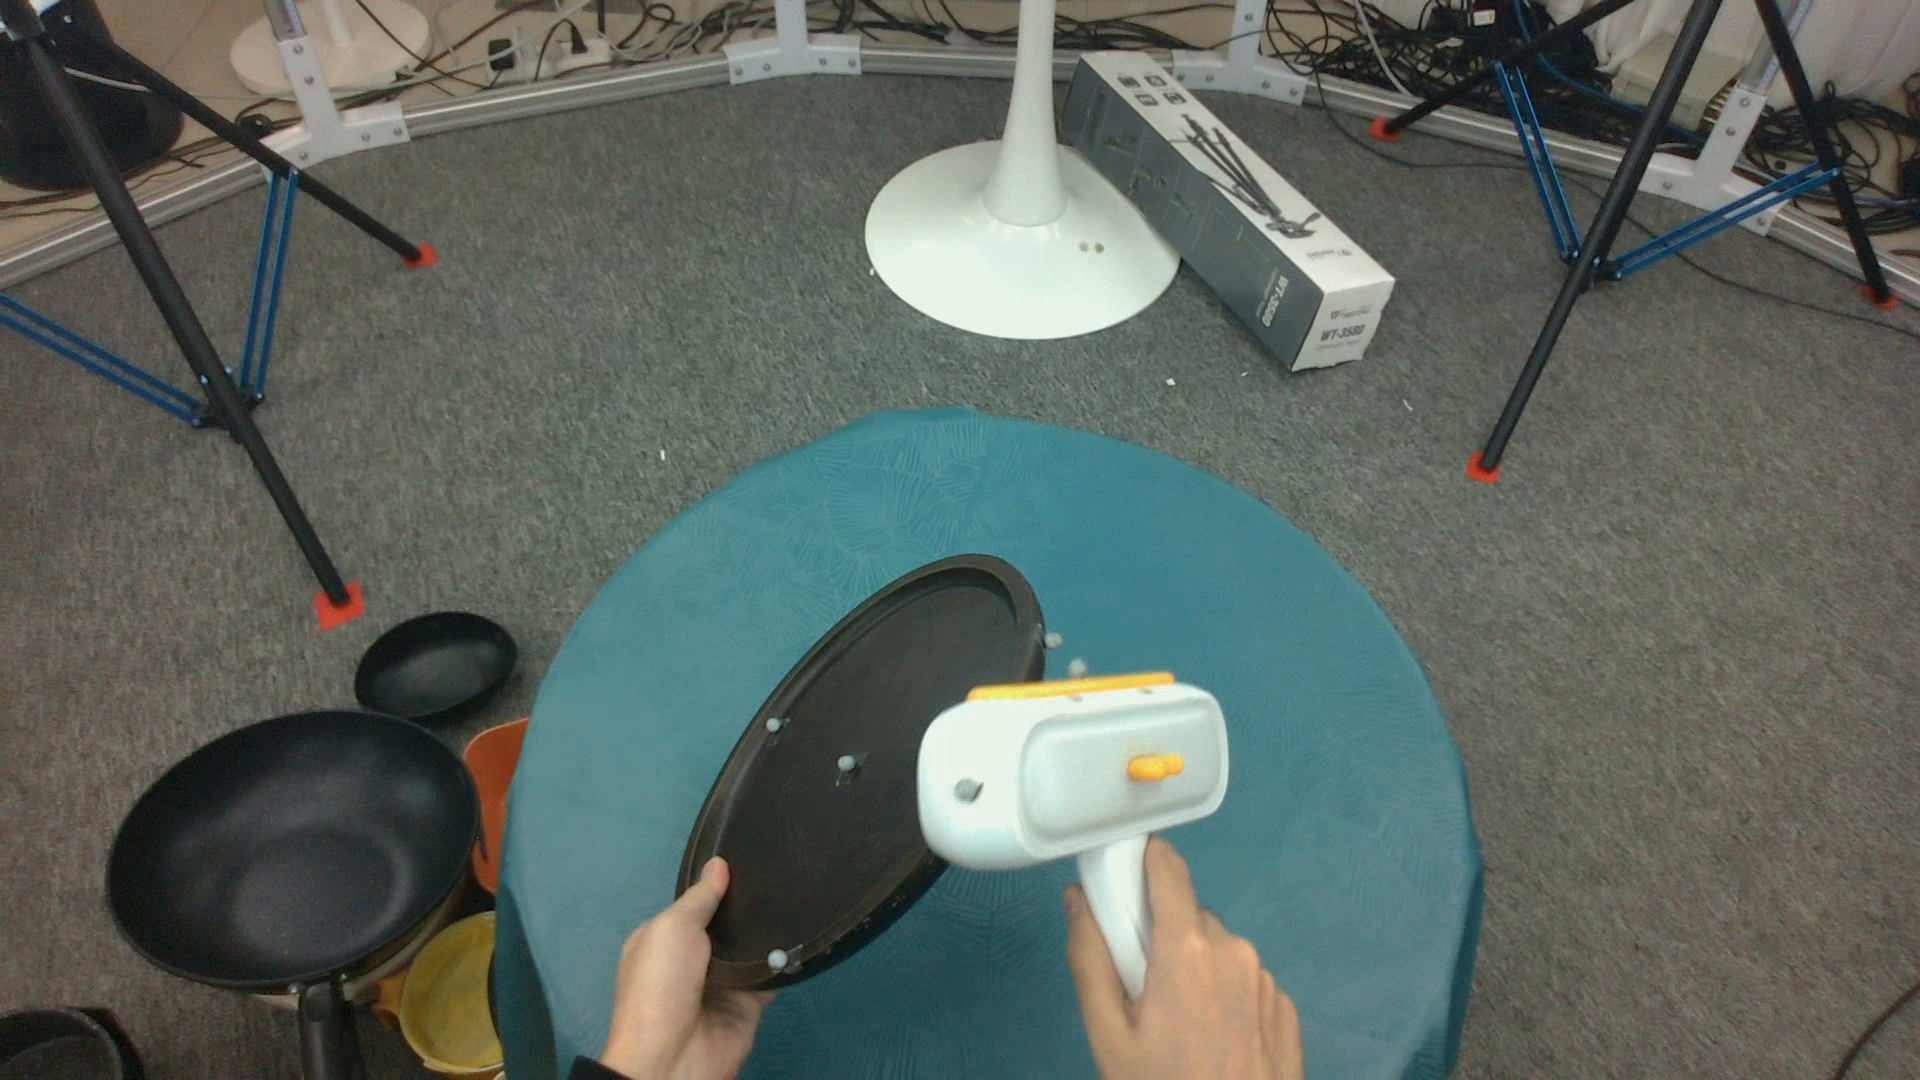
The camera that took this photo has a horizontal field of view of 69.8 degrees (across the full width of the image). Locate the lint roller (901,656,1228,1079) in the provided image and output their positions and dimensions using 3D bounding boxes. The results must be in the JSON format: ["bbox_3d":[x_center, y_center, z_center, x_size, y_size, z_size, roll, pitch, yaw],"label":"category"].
[{"bbox_3d":[0.064,0.149,0.588,0.074,0.193,0.192,-16,82,31],"label":"lint roller"}]

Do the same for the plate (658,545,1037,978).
[{"bbox_3d":[-0.059,0.106,0.698,0.254,0.029,0.256,-35,28,23],"label":"plate"}]
